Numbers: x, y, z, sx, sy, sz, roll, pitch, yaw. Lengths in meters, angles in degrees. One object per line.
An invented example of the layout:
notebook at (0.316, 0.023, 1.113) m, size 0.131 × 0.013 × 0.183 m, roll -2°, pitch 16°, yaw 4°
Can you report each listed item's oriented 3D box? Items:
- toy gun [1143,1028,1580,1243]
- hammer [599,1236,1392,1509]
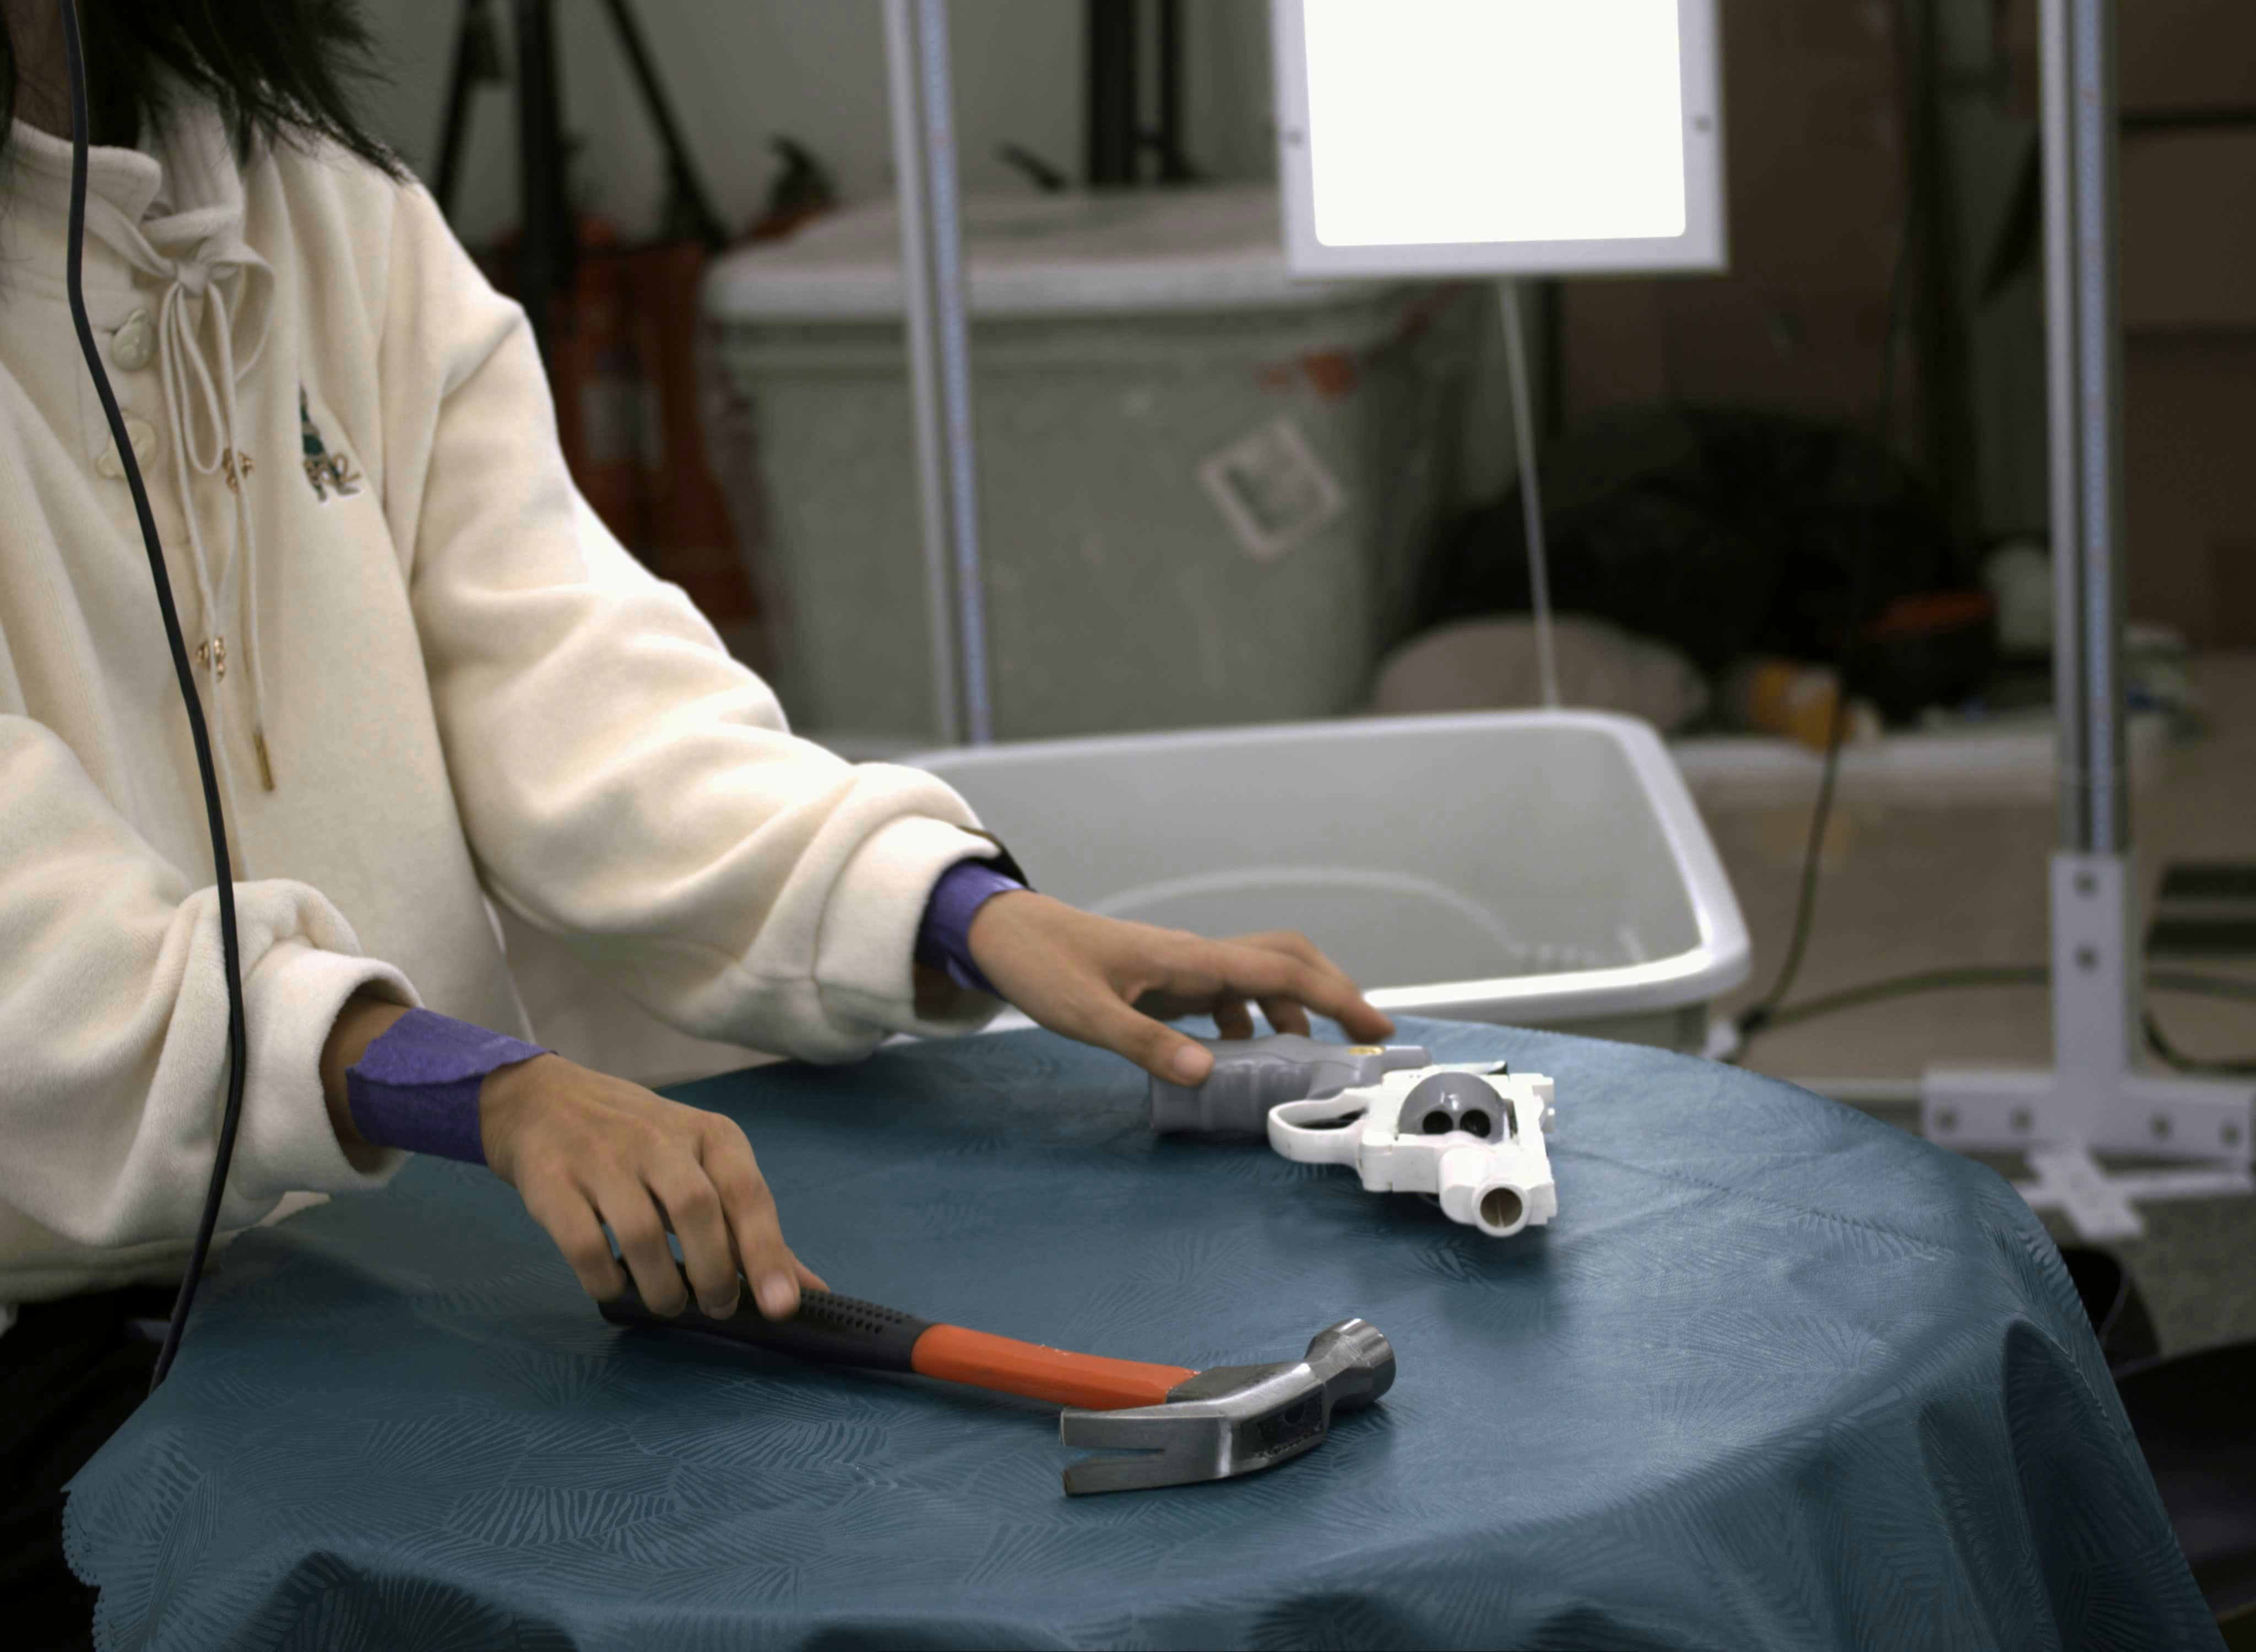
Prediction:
toy gun at (0.077, 0.104, 1.876) m, size 0.141 × 0.039 × 0.208 m, roll -2°, pitch 12°, yaw 1°
hammer at (-0.058, 0.161, 1.714) m, size 0.283 × 0.026 × 0.108 m, roll 7°, pitch 27°, yaw 40°
